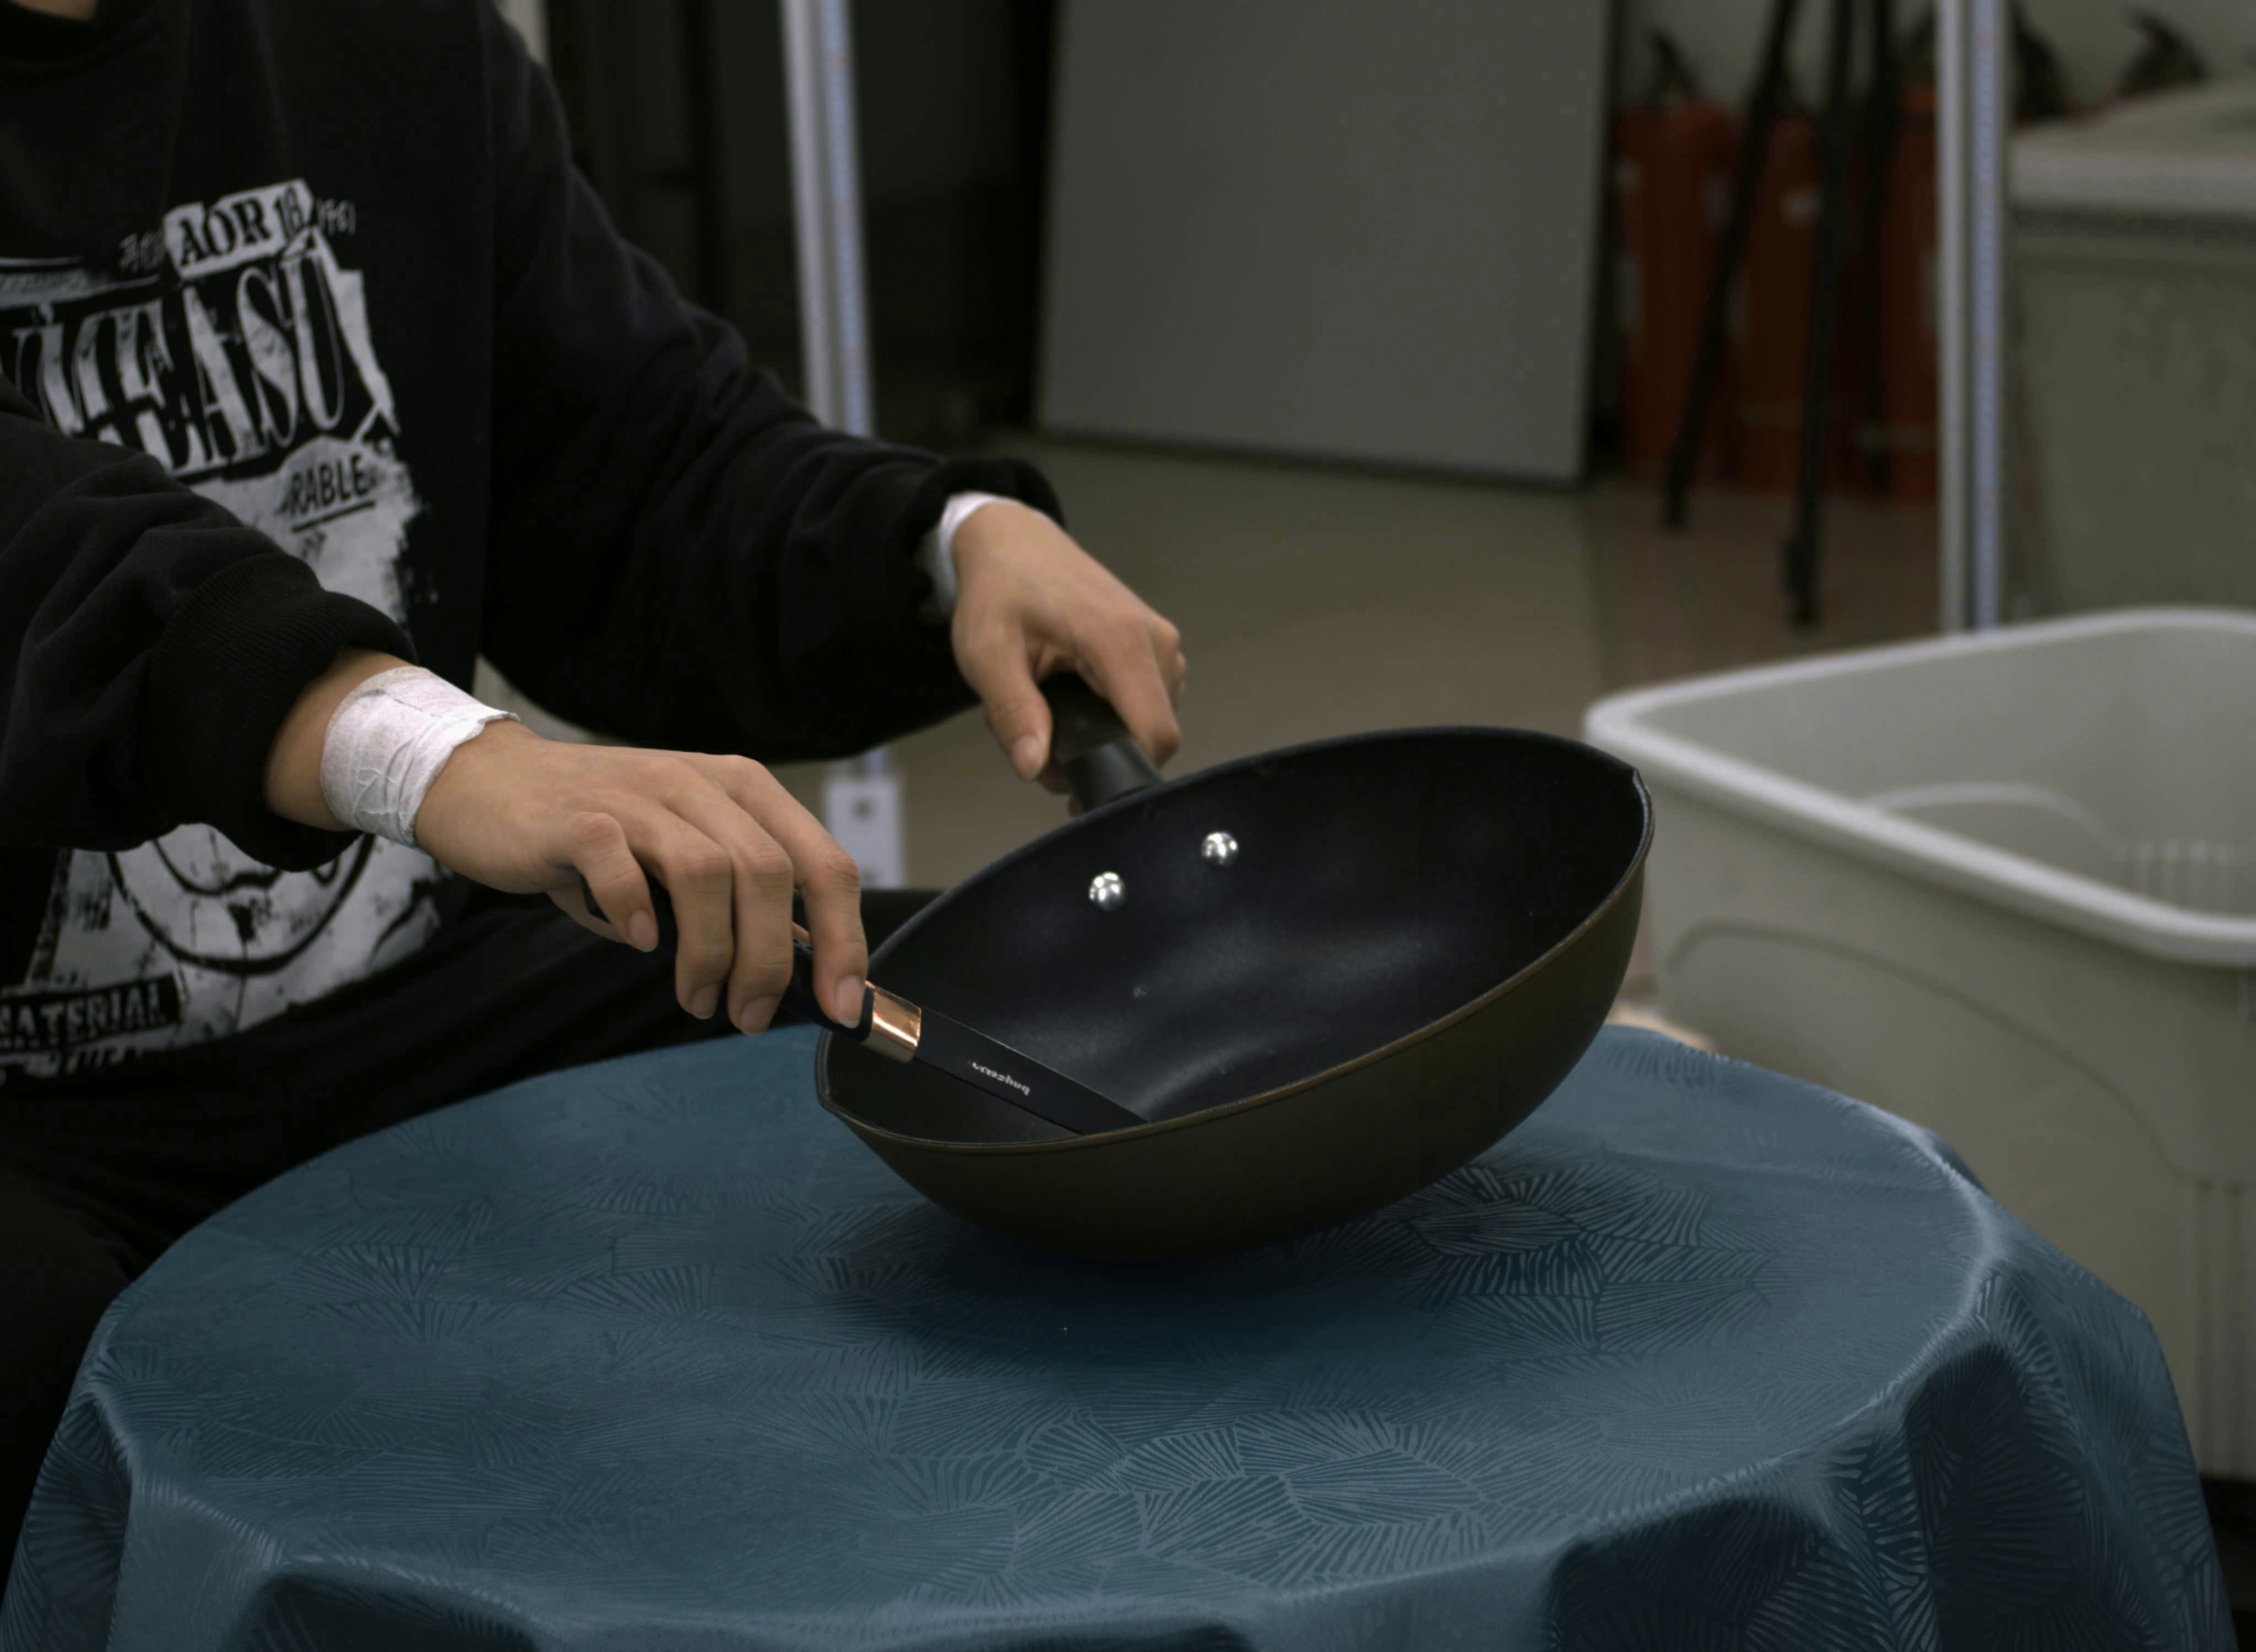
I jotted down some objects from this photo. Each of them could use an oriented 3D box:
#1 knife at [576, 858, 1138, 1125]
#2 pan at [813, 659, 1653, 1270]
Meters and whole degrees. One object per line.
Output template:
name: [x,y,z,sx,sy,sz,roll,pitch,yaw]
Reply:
knife: [-0.062,0.059,1.610,0.222,0.017,0.026,25,34,-15]
pan: [0.024,0.041,1.822,0.285,0.087,0.466,-22,20,-5]
